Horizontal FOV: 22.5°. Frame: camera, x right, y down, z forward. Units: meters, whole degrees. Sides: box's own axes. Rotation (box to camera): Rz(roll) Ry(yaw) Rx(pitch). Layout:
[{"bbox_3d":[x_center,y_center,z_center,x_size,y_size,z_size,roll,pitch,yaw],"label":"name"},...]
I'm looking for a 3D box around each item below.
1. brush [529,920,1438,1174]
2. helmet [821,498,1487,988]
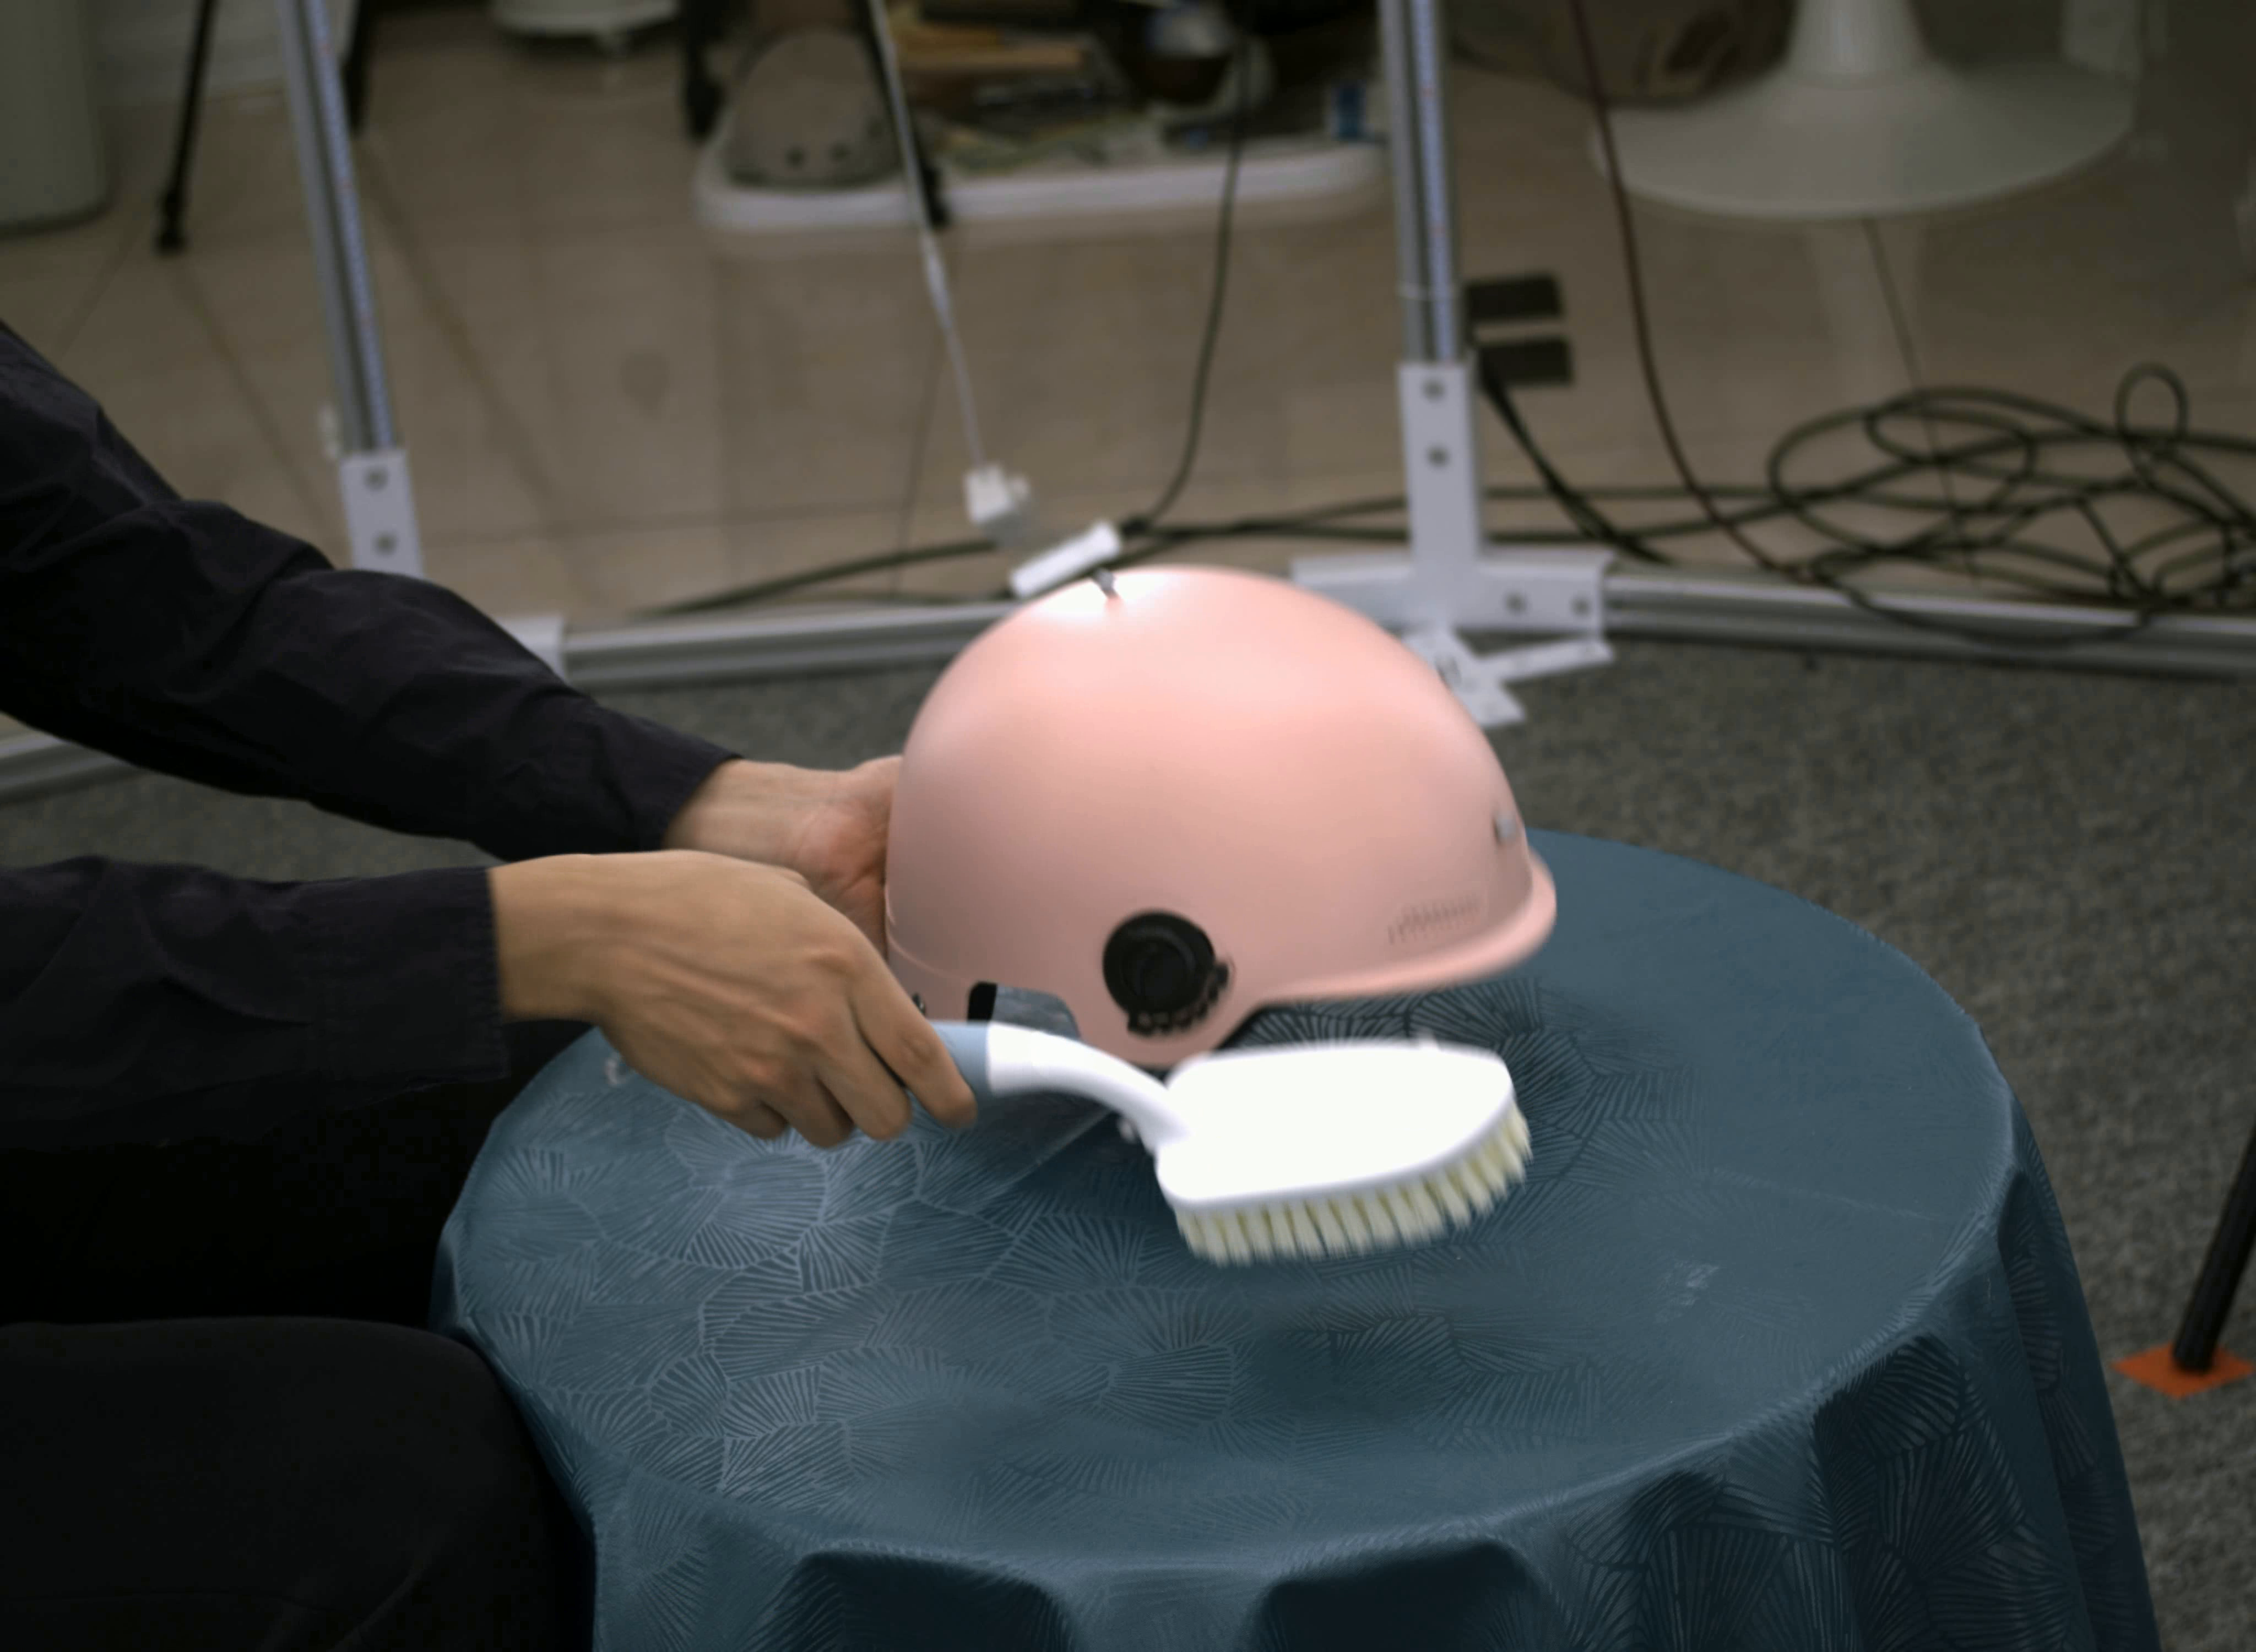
[{"bbox_3d":[-0.052,0.079,2.035,0.325,0.085,0.082,3,9,3],"label":"brush"},{"bbox_3d":[0.005,-0.044,2.200,0.265,0.161,0.231,4,21,24],"label":"helmet"}]
